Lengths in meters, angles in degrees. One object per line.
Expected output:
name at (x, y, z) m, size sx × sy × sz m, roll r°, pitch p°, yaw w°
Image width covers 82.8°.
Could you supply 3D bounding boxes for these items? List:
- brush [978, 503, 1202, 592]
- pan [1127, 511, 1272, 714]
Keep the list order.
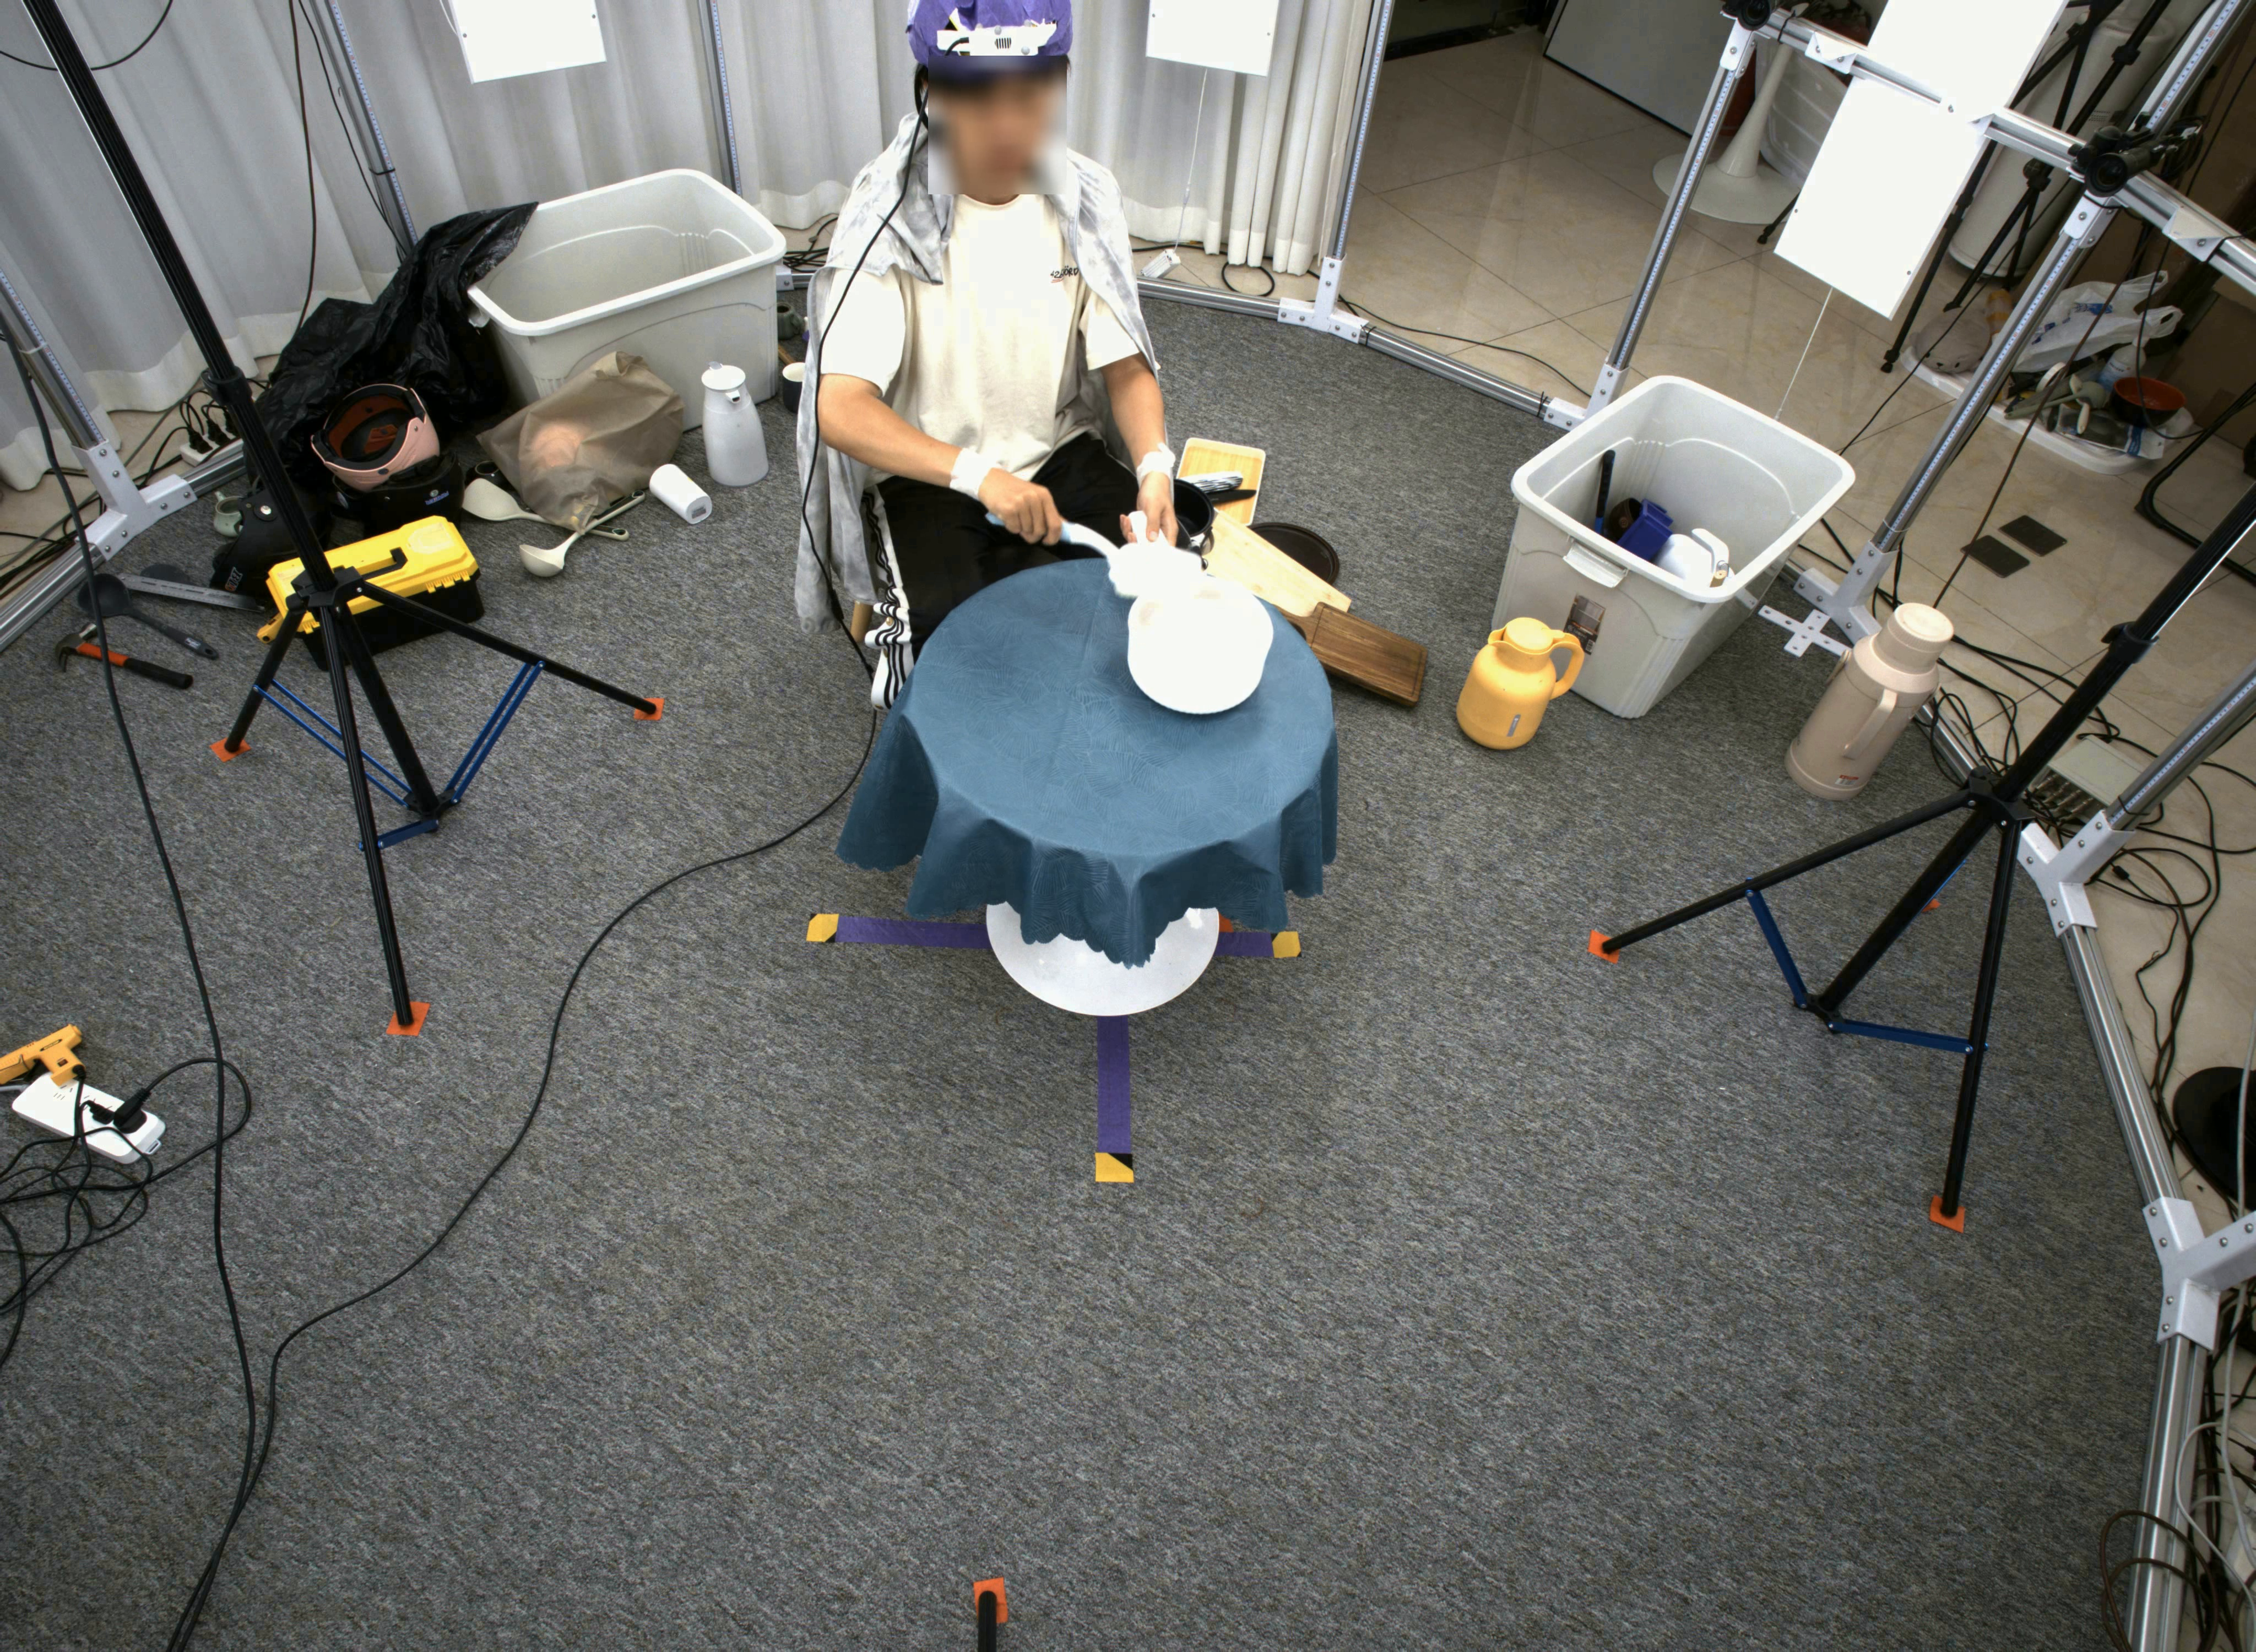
brush at (-0.054, -0.390, 1.819) m, size 0.326 × 0.083 × 0.084 m, roll 14°, pitch 21°, yaw 10°
pan at (0.072, -0.310, 1.866) m, size 0.201 × 0.099 × 0.363 m, roll -13°, pitch 52°, yaw -14°
